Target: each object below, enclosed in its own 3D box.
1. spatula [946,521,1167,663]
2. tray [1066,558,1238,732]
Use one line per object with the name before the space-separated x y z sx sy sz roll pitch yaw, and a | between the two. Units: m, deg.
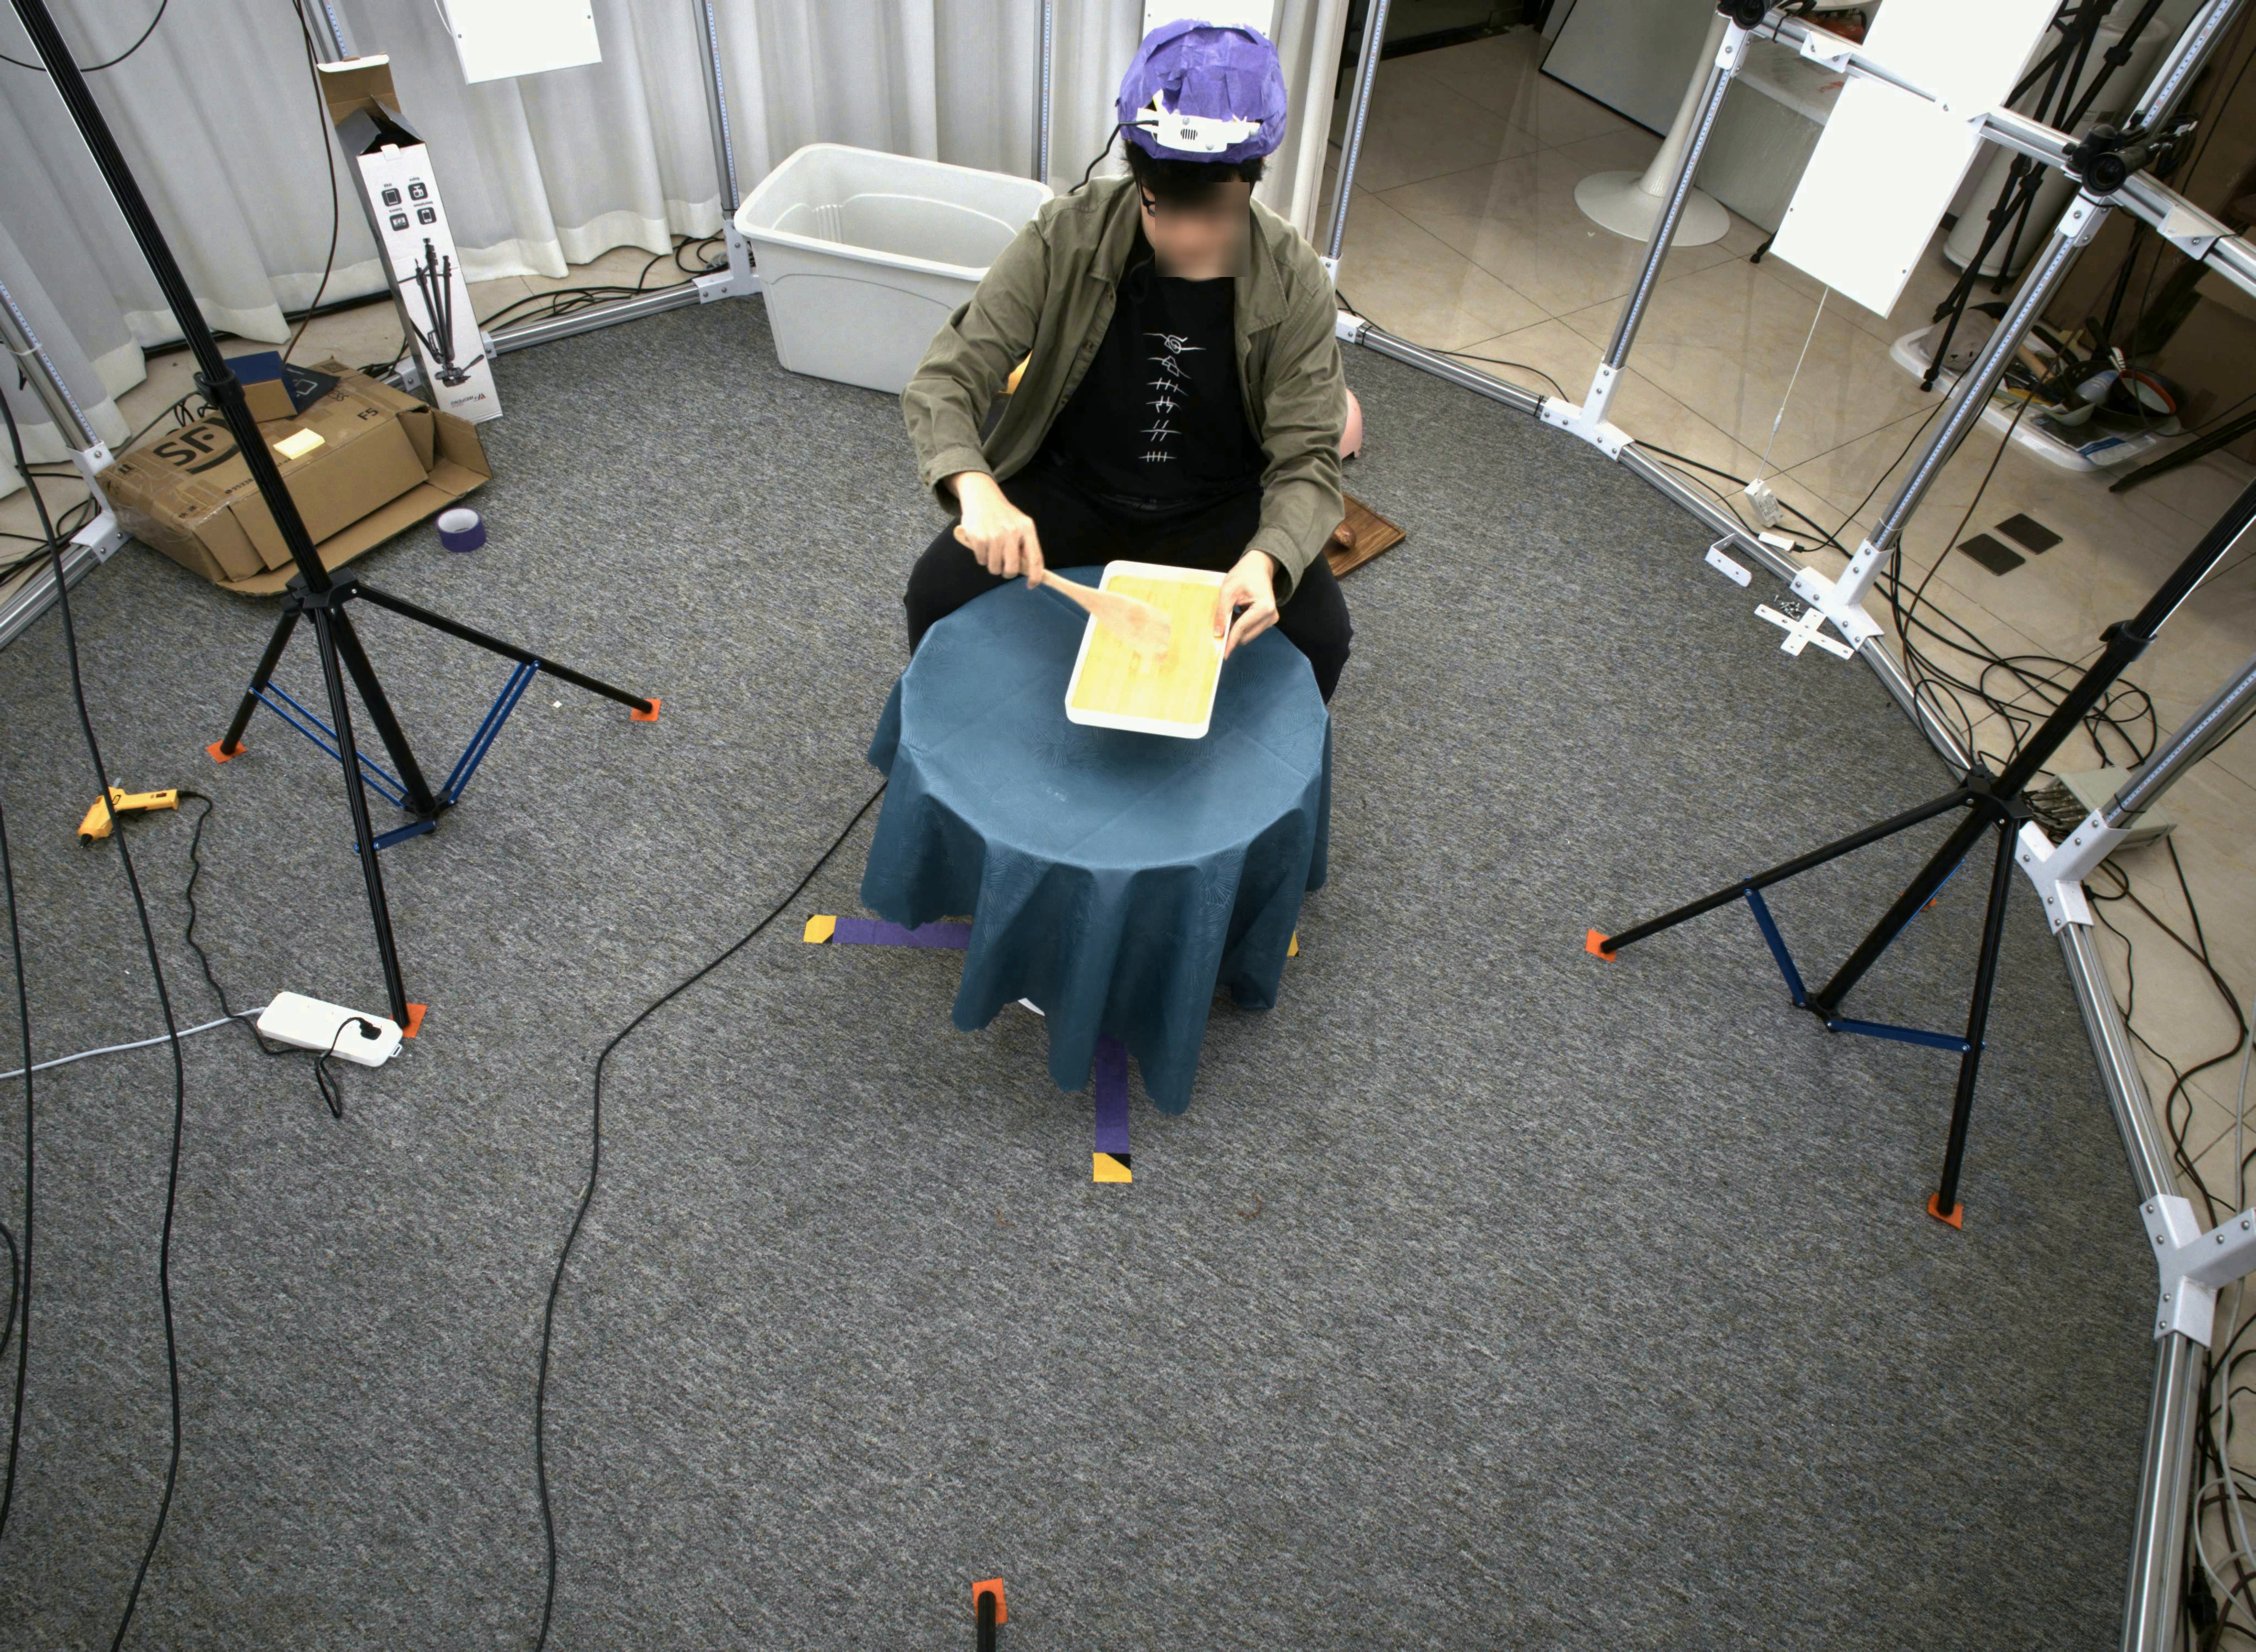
spatula | -0.092 -0.315 1.676 0.328 0.078 0.017 27 44 4
tray | 0.038 -0.252 1.743 0.192 0.027 0.307 9 49 7
